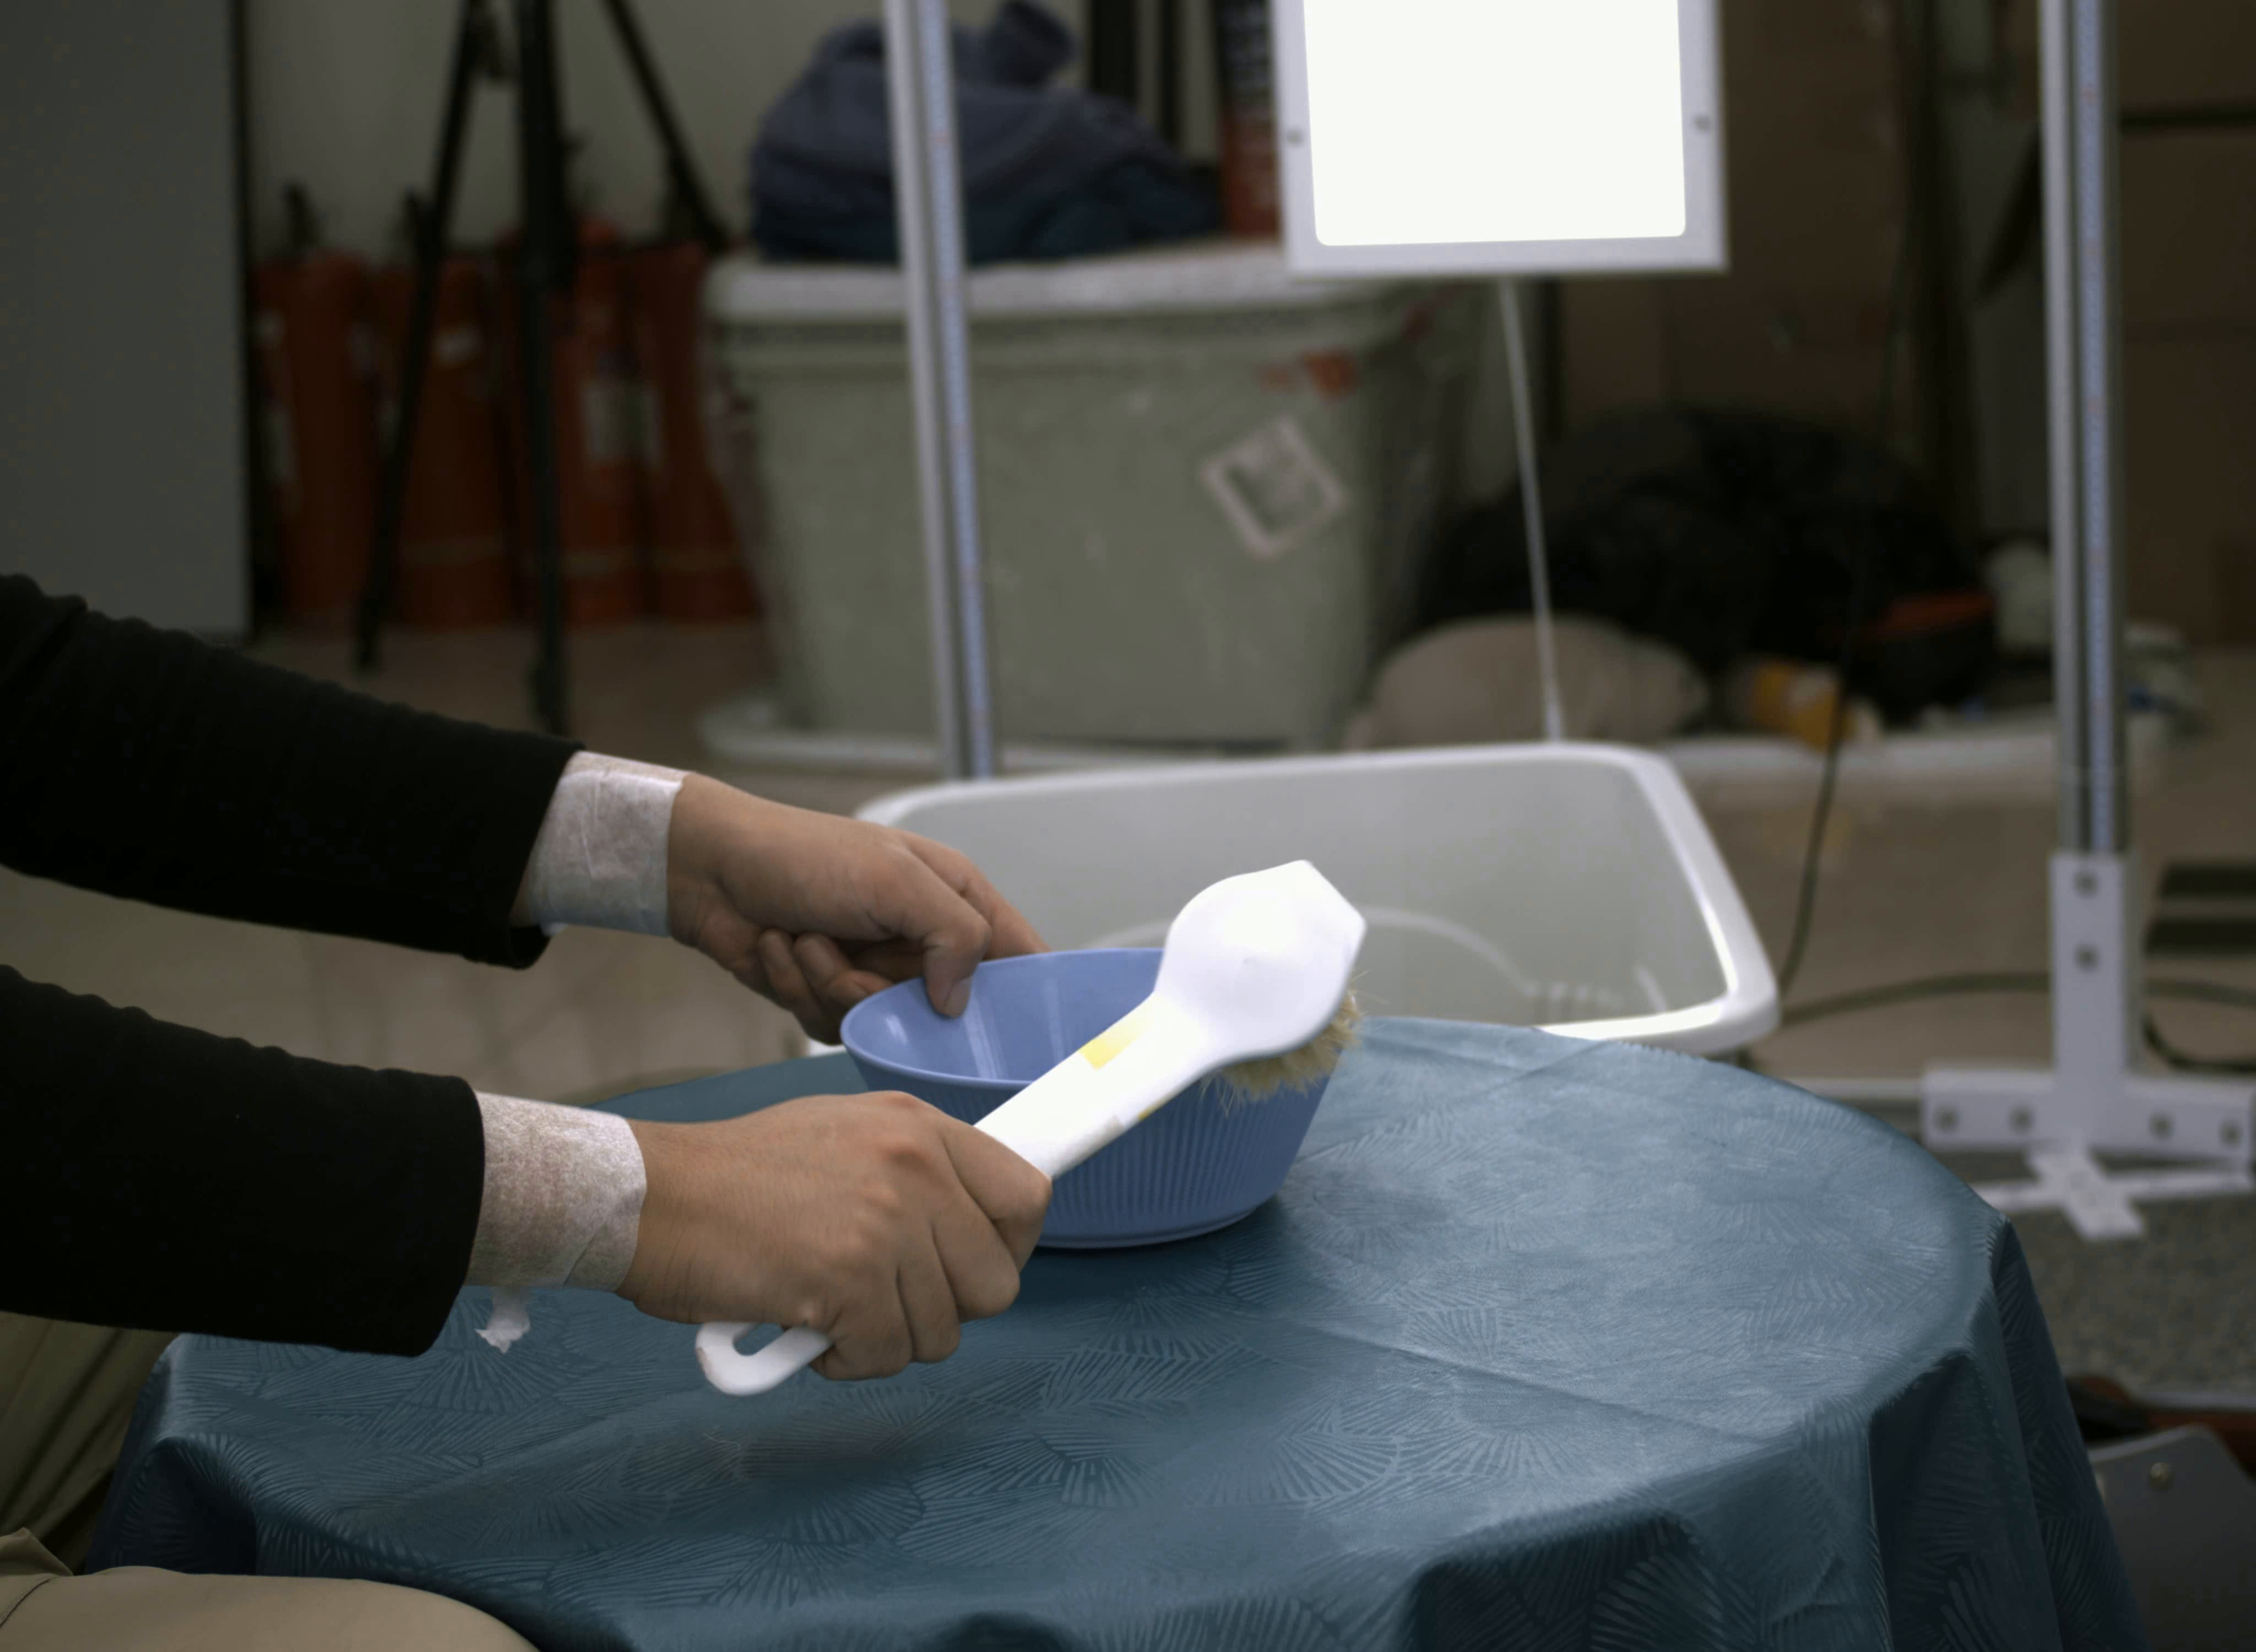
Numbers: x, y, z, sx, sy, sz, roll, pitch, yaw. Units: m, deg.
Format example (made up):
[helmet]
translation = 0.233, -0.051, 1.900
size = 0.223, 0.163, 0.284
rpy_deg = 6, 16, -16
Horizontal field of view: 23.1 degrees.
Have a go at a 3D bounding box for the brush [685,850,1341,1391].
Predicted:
[brush]
translation = -0.035, 0.100, 1.701
size = 0.262, 0.056, 0.069
rpy_deg = -39, 64, -24

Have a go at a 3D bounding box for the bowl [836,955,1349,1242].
[bowl]
translation = -0.011, 0.094, 1.875
size = 0.175, 0.070, 0.176
rpy_deg = -3, 12, -1
